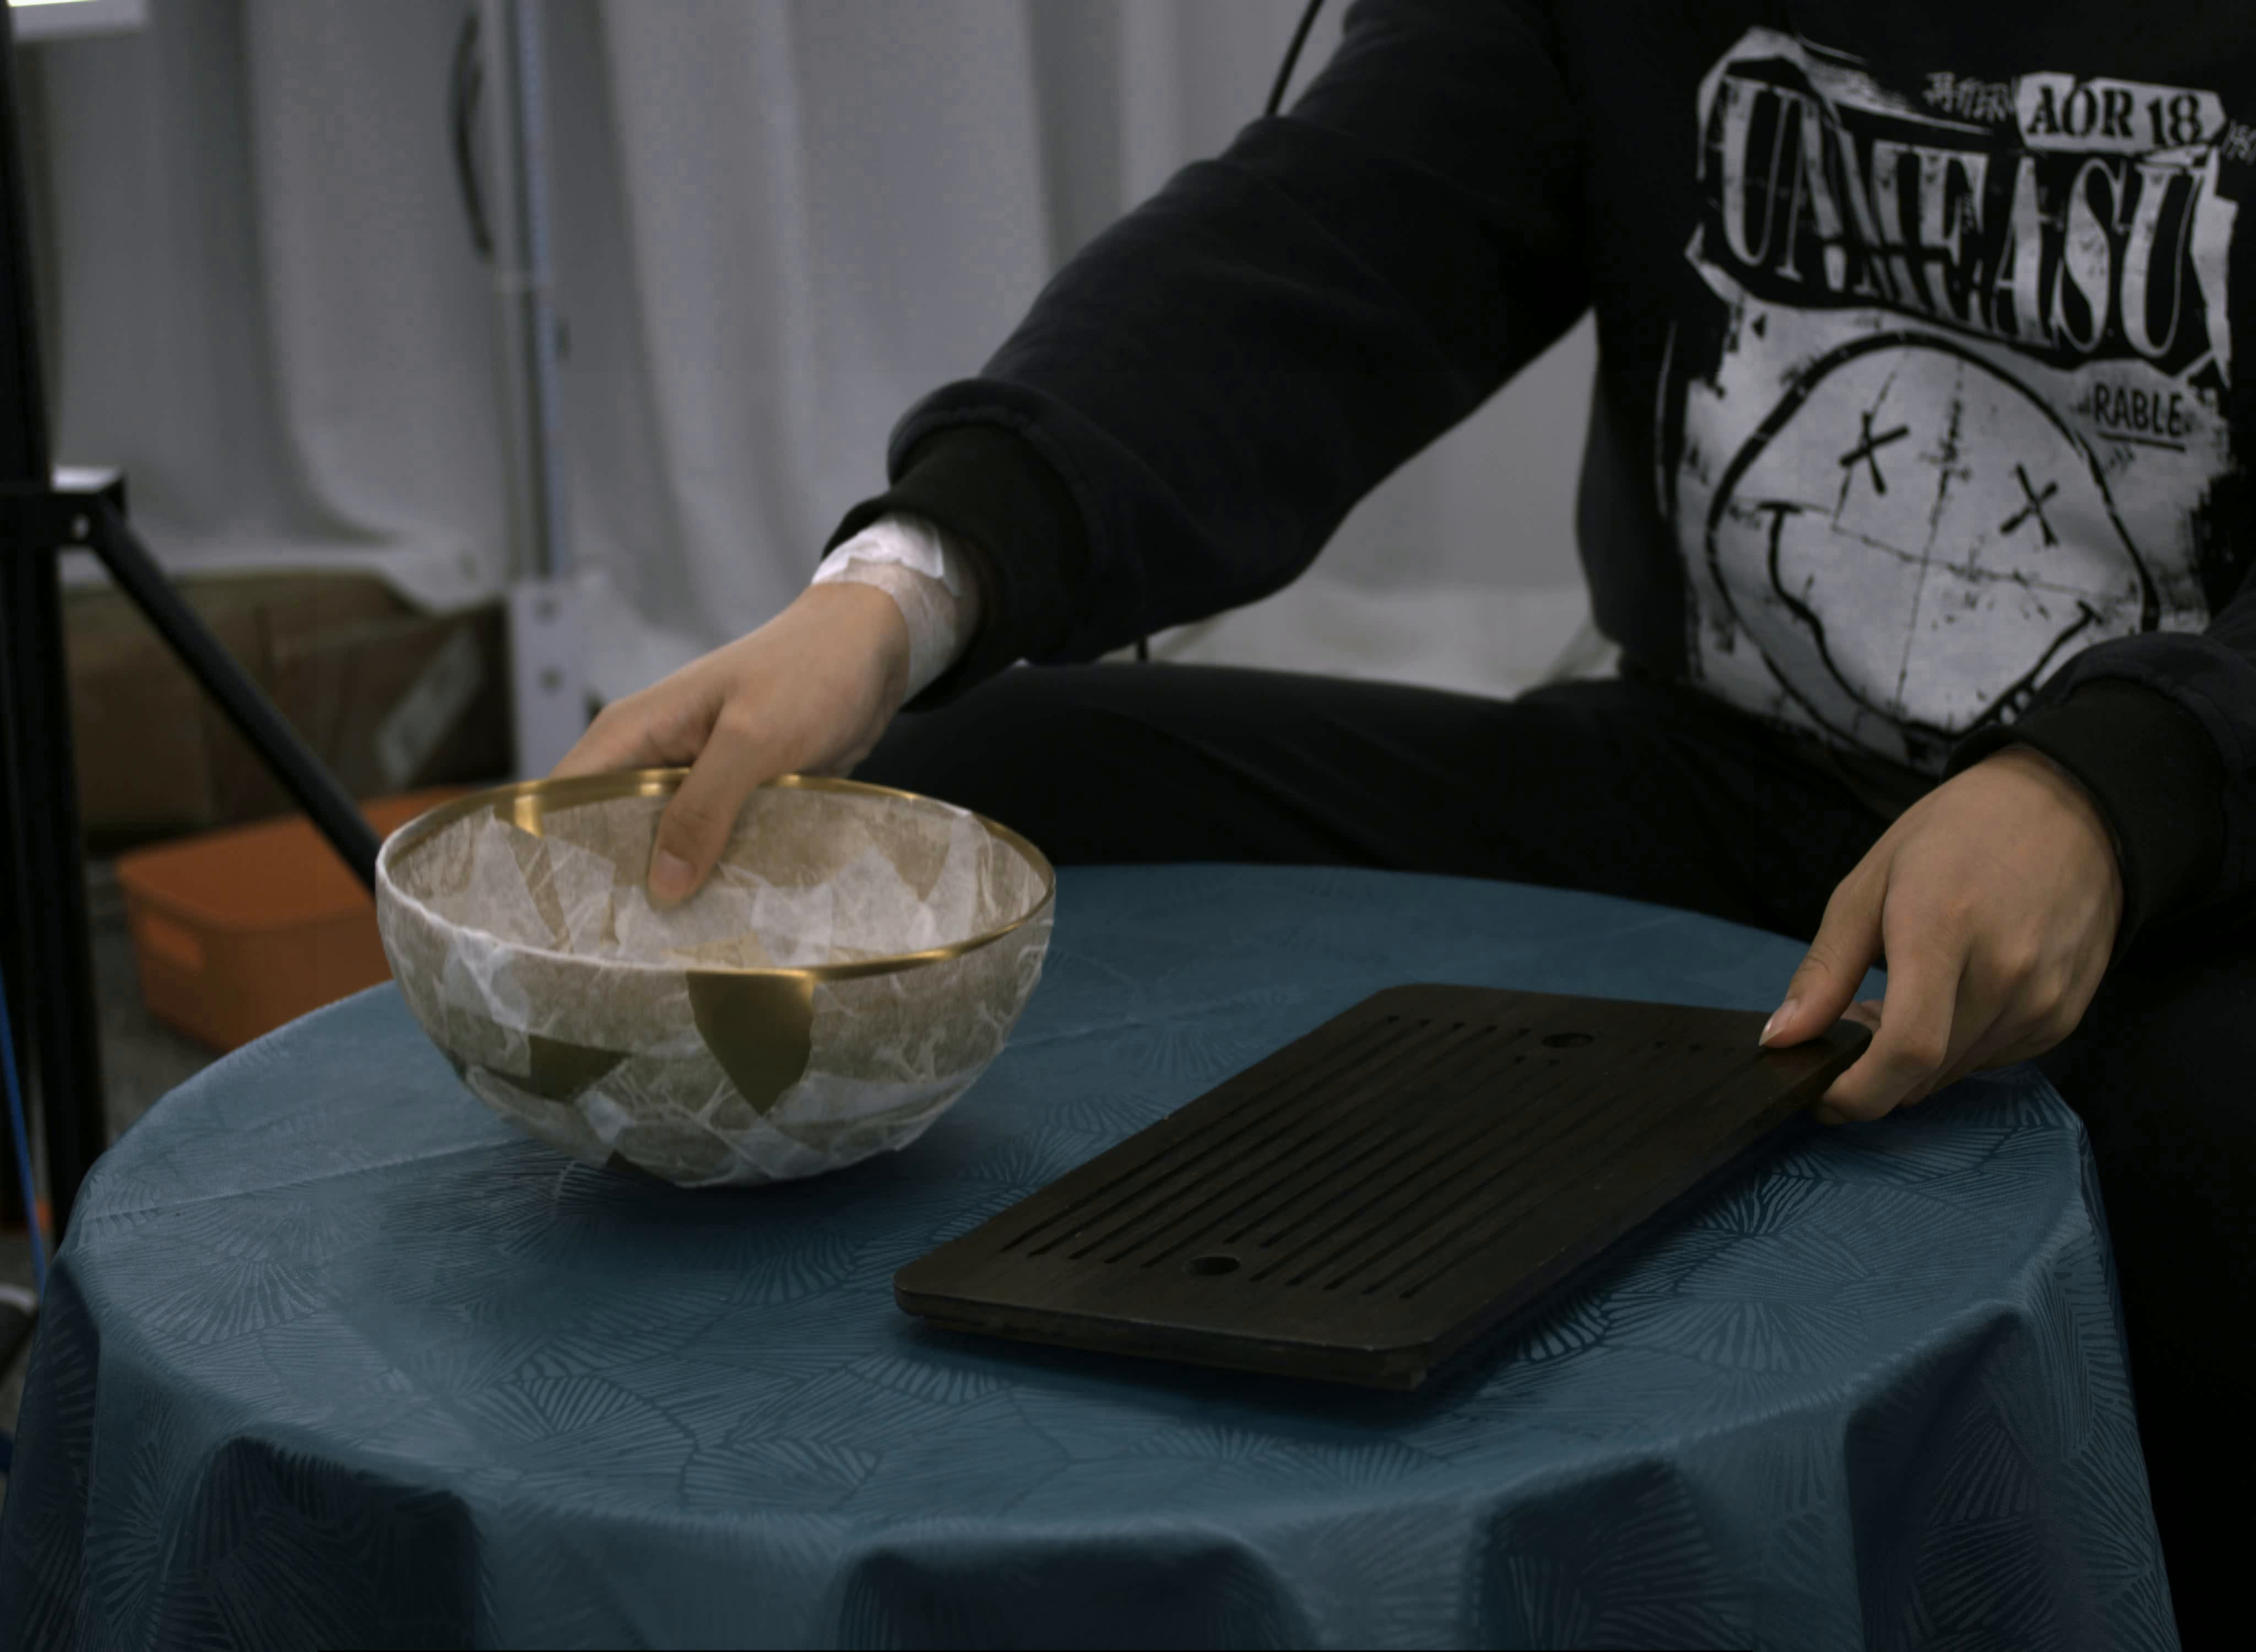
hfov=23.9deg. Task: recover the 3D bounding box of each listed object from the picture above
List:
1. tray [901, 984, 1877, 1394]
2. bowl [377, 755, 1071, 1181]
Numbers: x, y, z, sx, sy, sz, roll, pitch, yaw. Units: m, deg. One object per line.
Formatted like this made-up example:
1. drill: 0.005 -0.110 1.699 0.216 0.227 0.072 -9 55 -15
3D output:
1. tray: 0.082 0.101 1.523 0.173 0.018 0.300 4 17 32
2. bowl: -0.119 0.051 1.592 0.213 0.094 0.216 1 16 -2
